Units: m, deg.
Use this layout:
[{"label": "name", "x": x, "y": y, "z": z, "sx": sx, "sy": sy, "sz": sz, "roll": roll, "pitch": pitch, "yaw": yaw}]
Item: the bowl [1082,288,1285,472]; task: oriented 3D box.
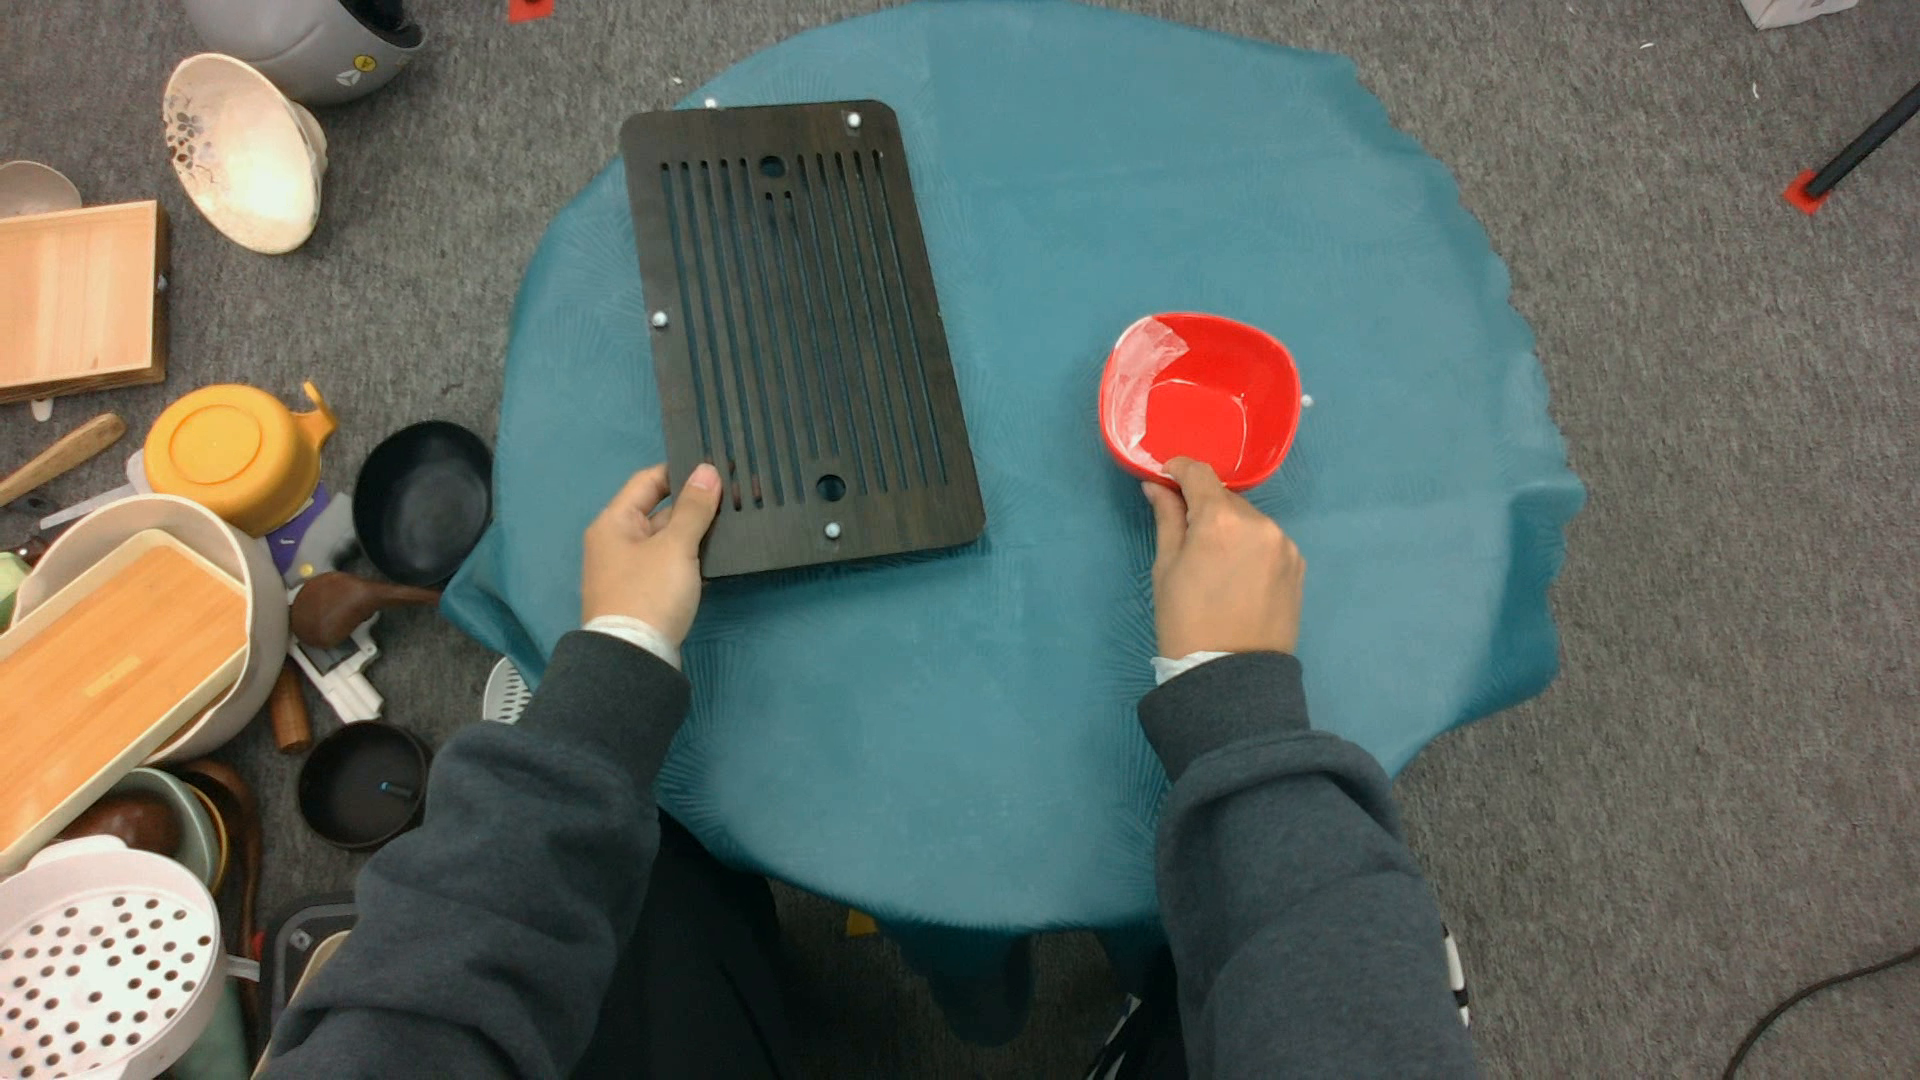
[{"label": "bowl", "x": 0.123, "y": -0.082, "z": 0.778, "sx": 0.119, "sy": 0.051, "sz": 0.119, "roll": 0, "pitch": 64, "yaw": 0}]

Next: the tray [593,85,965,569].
[{"label": "tray", "x": -0.110, "y": -0.133, "z": 0.799, "sx": 0.170, "sy": 0.018, "sz": 0.306, "roll": -8, "pitch": 69, "yaw": -12}]
